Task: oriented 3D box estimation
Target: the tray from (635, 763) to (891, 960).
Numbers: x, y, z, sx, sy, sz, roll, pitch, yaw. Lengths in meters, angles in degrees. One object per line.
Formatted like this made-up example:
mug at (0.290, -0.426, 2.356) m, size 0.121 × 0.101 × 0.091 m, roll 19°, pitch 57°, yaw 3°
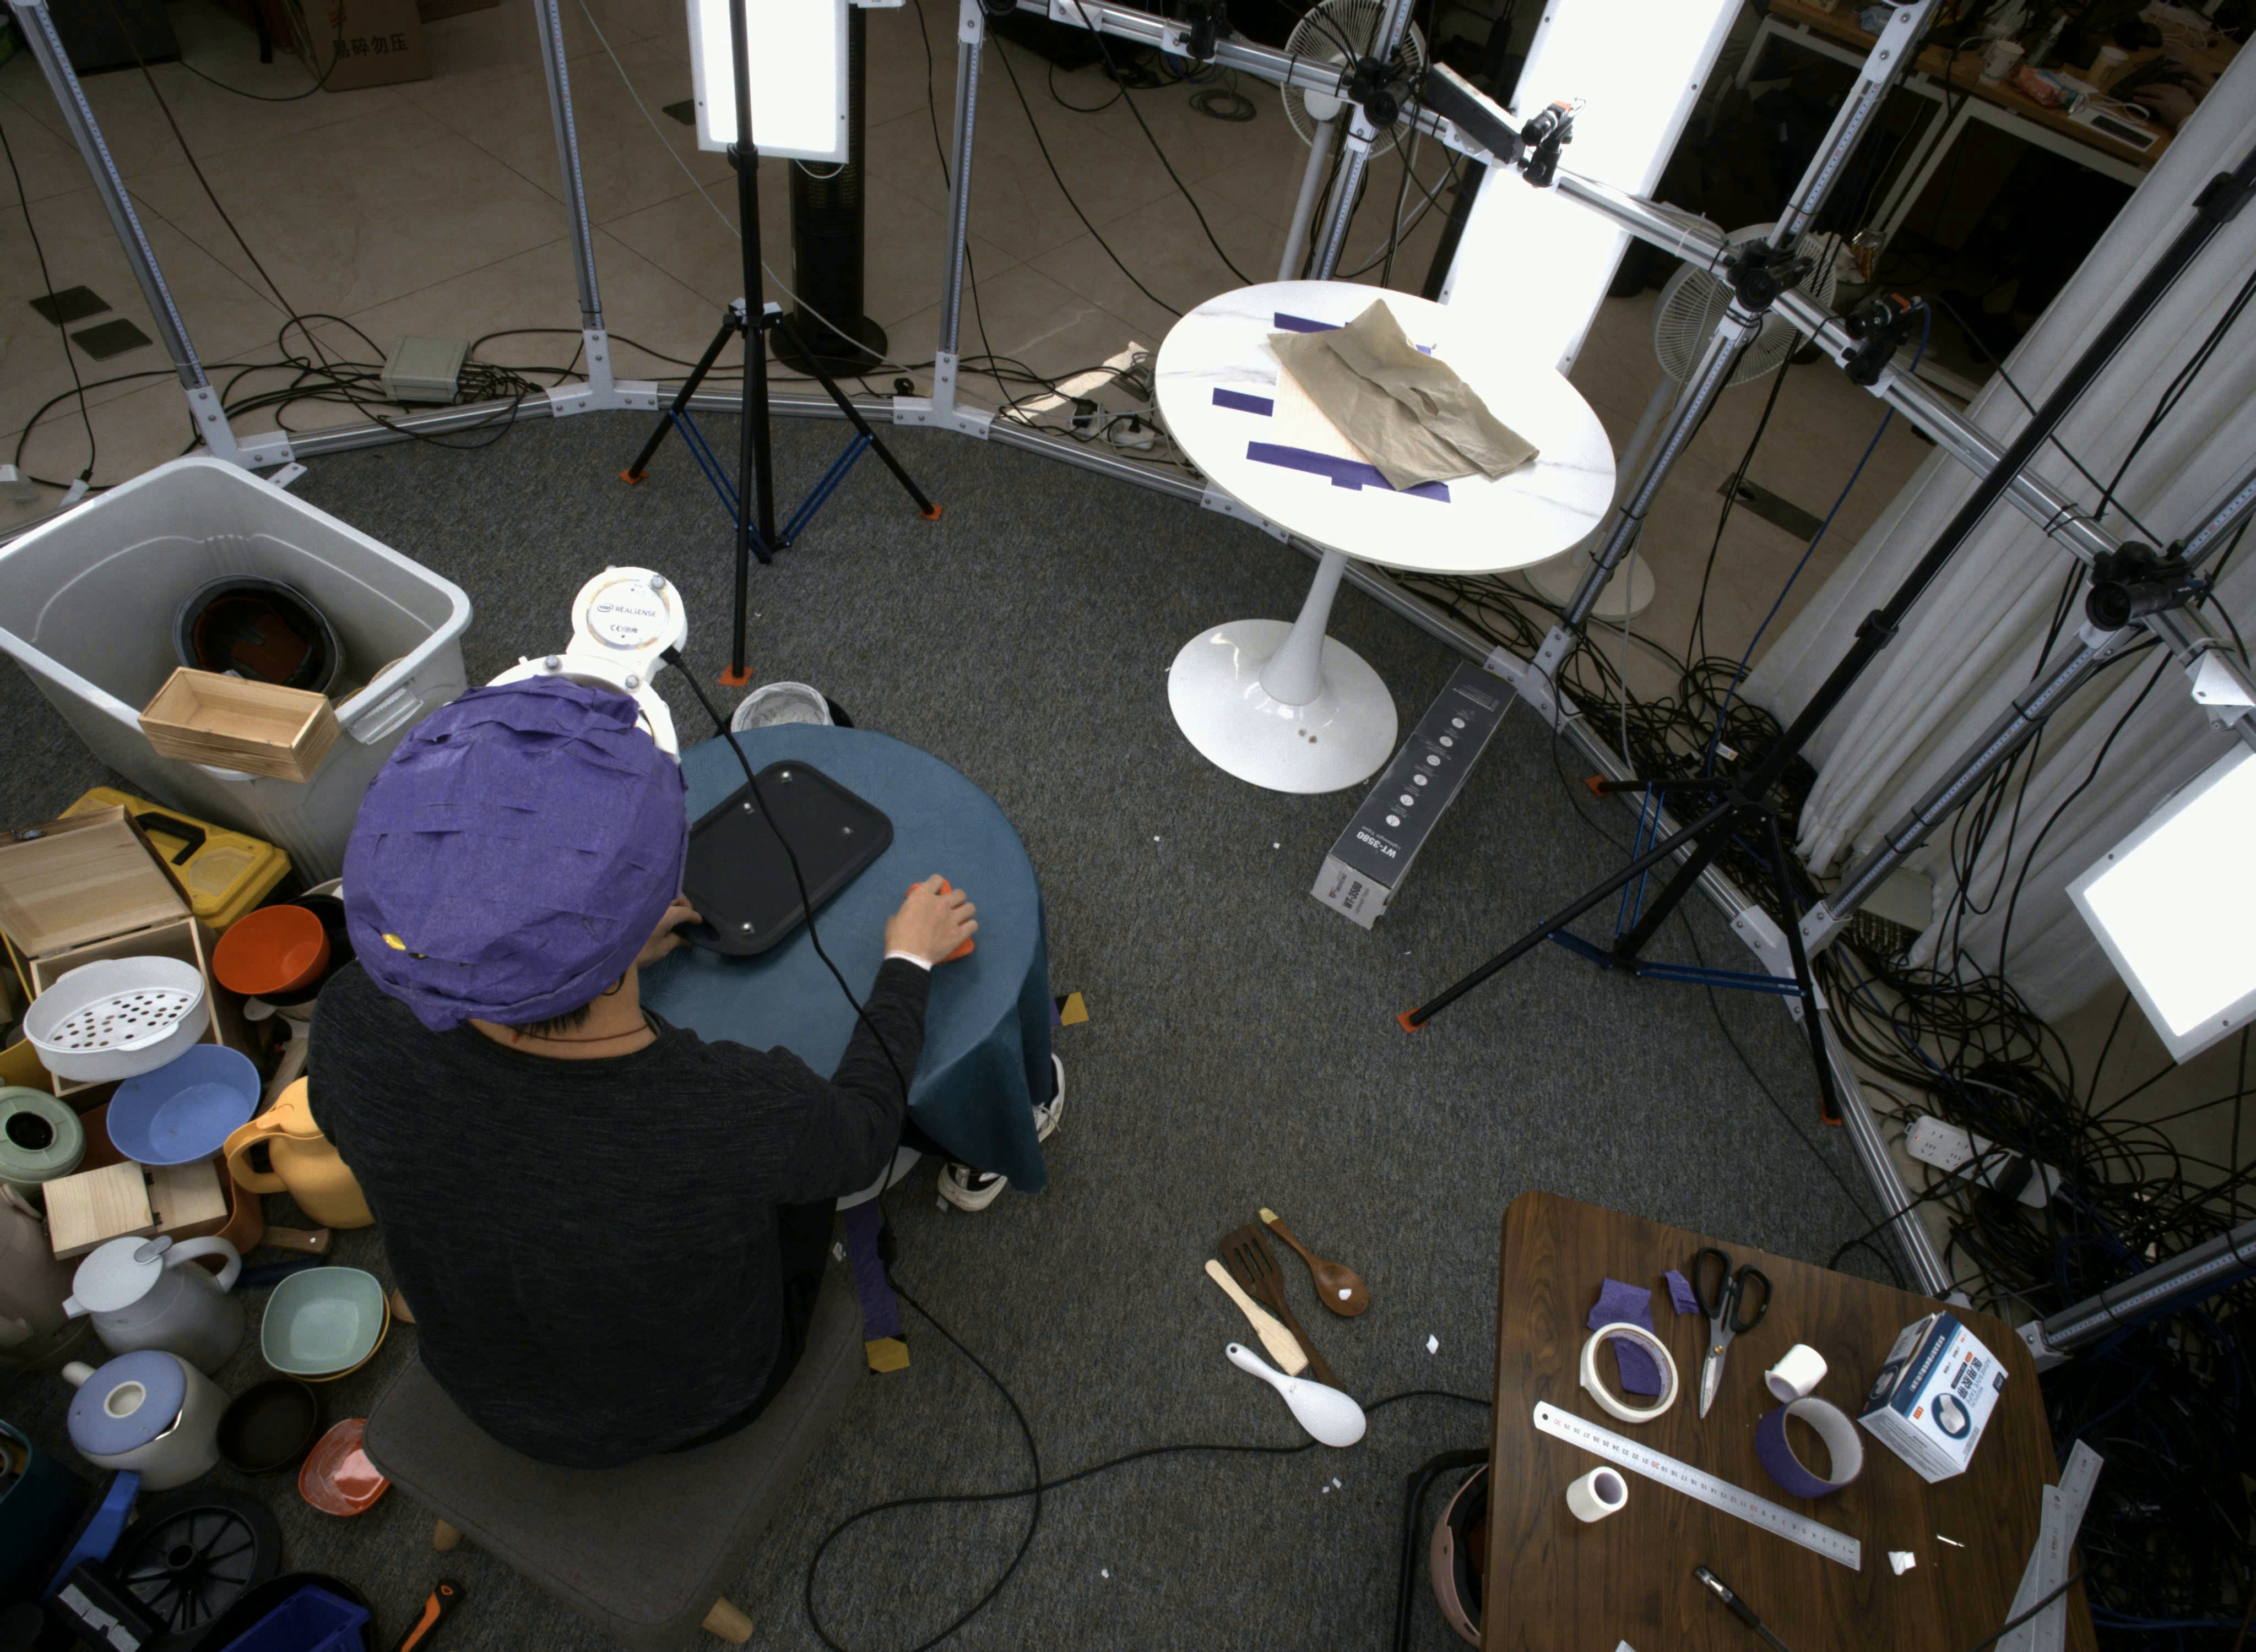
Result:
tray at (-0.467, 0.040, 1.657) m, size 0.207 × 0.010 × 0.325 m, roll 33°, pitch 48°, yaw 12°

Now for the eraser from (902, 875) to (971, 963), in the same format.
eraser at (-0.242, 0.116, 1.645) m, size 0.059 × 0.023 × 0.106 m, roll -13°, pitch 67°, yaw -31°
